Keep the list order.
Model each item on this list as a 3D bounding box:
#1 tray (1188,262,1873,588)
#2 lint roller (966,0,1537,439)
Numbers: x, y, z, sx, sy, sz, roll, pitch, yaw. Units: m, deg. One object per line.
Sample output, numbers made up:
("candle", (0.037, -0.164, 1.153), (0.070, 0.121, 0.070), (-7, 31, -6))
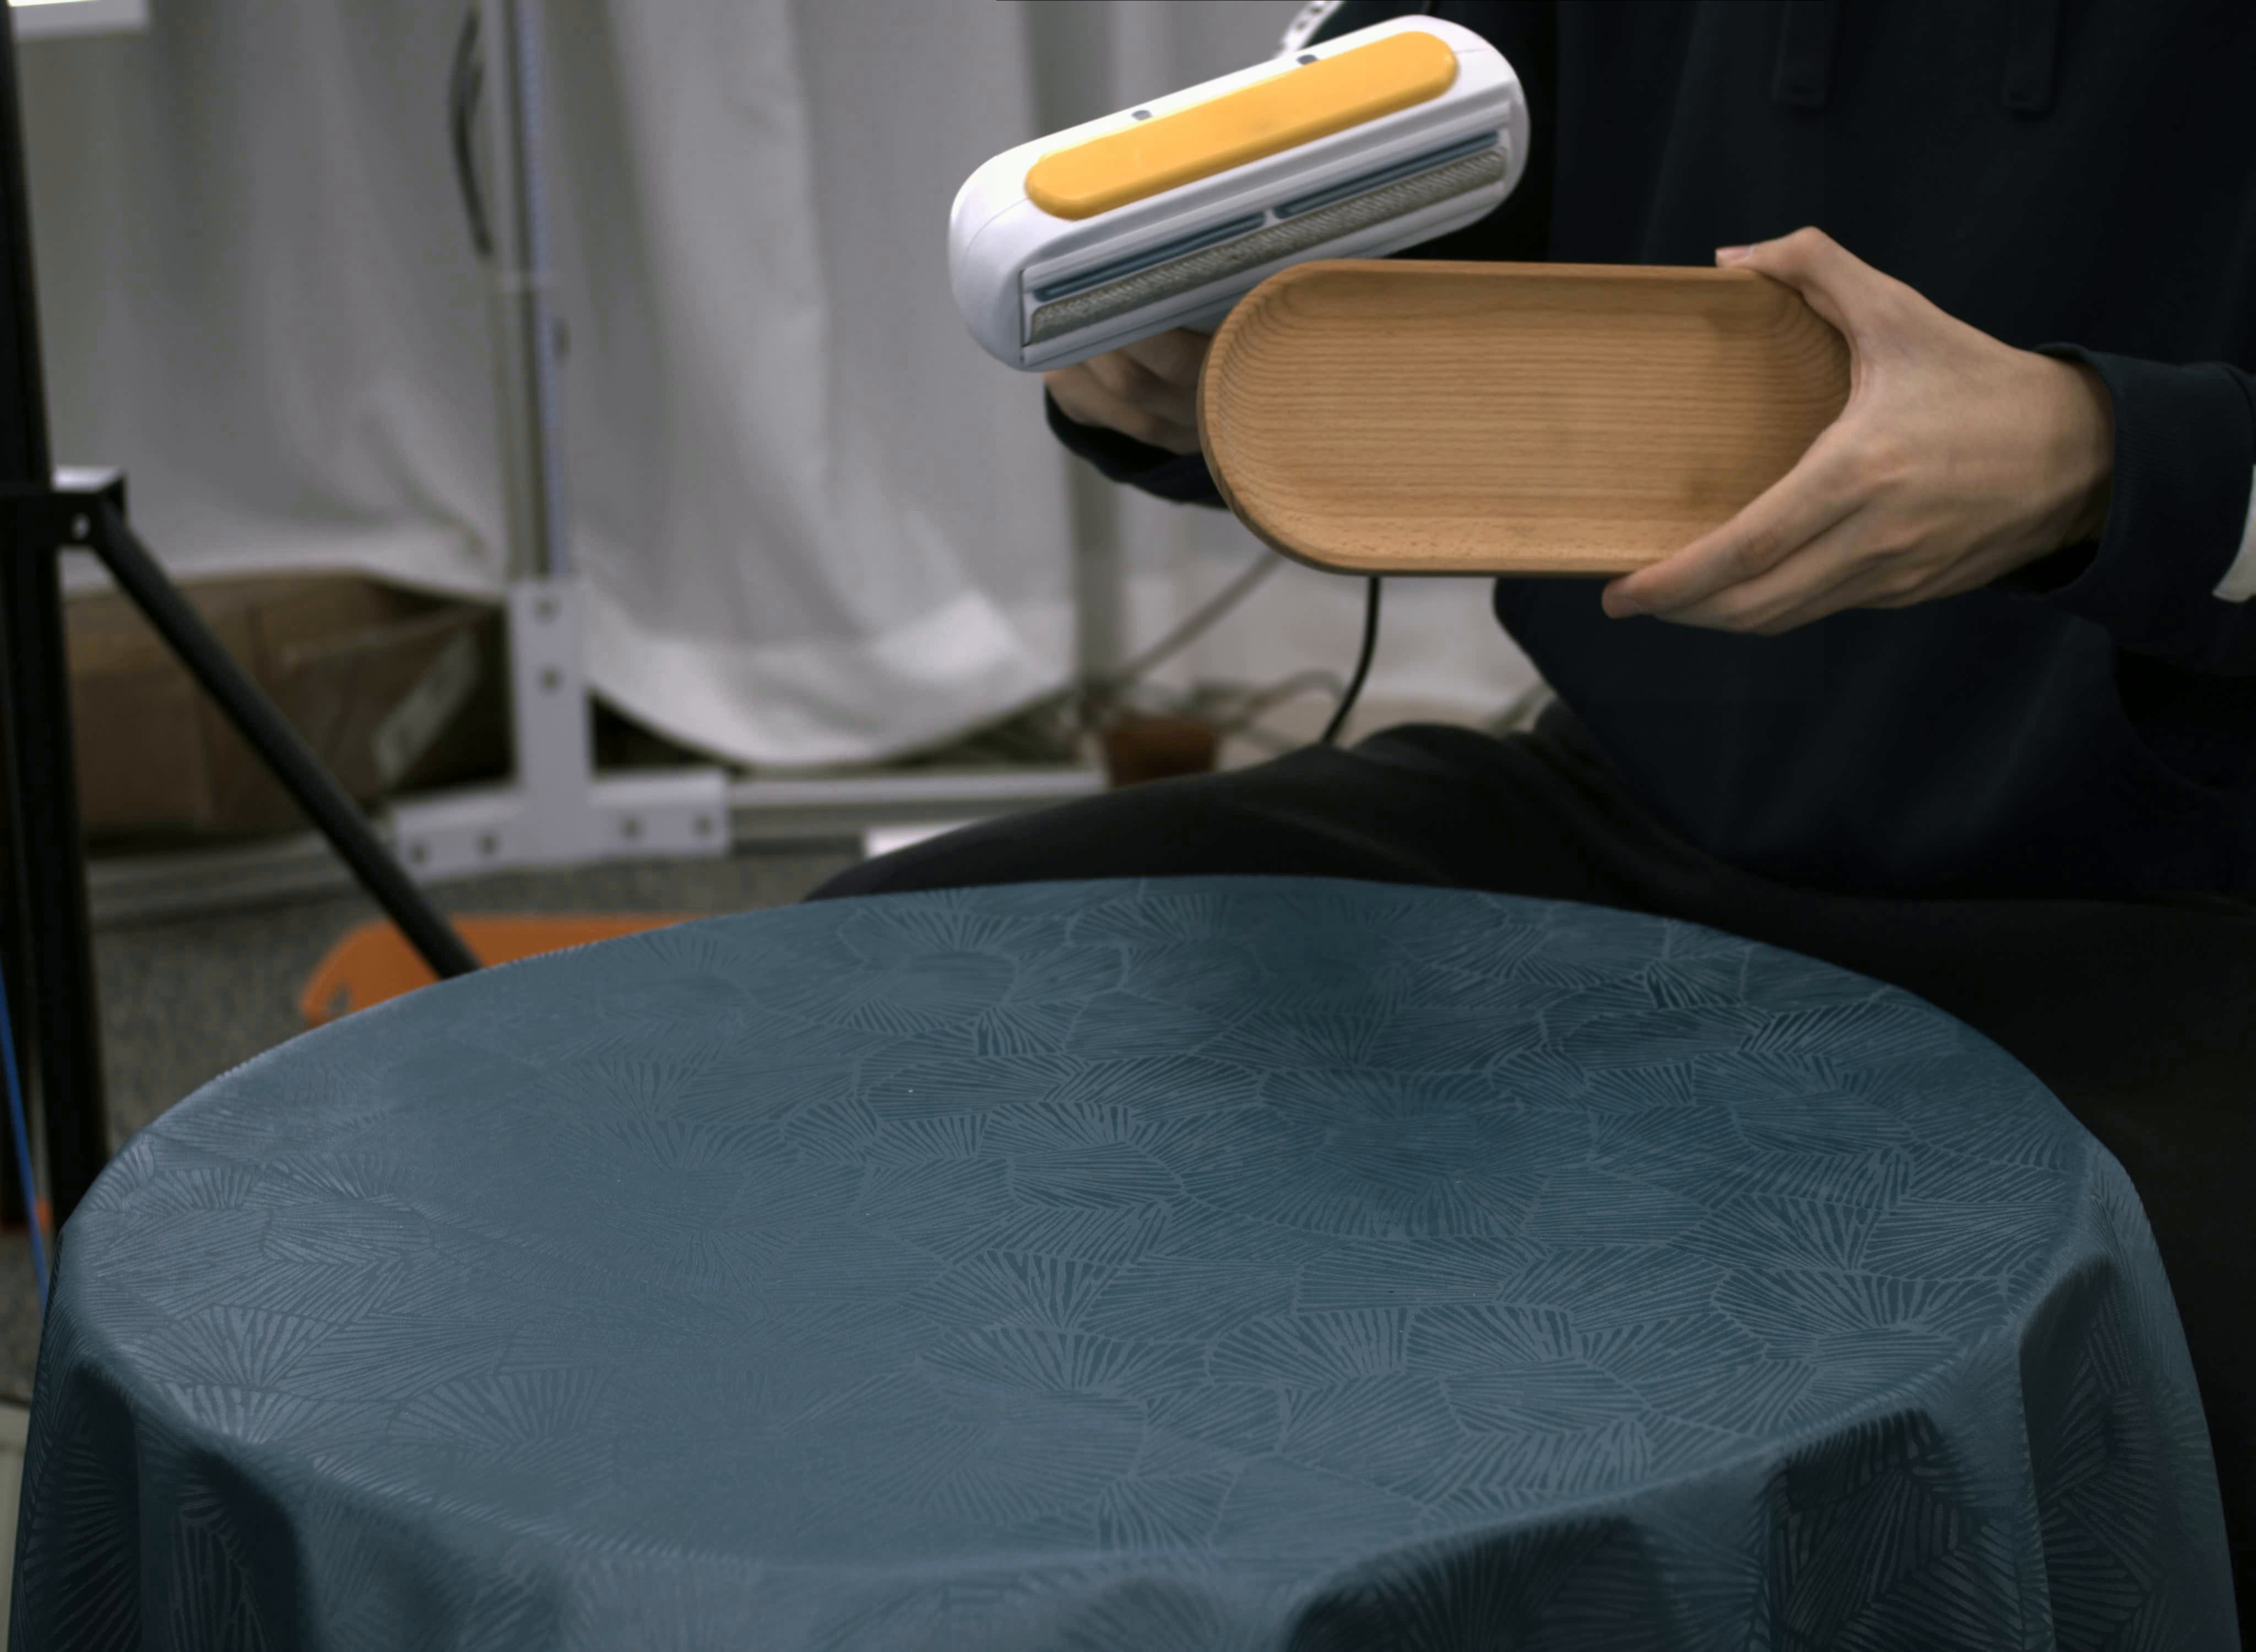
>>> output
("tray", (0.127, -0.123, 1.656), (0.227, 0.102, 0.020), (-2, -13, -17))
("lint roller", (0.028, -0.177, 1.723), (0.190, 0.192, 0.075), (-23, 63, -20))
